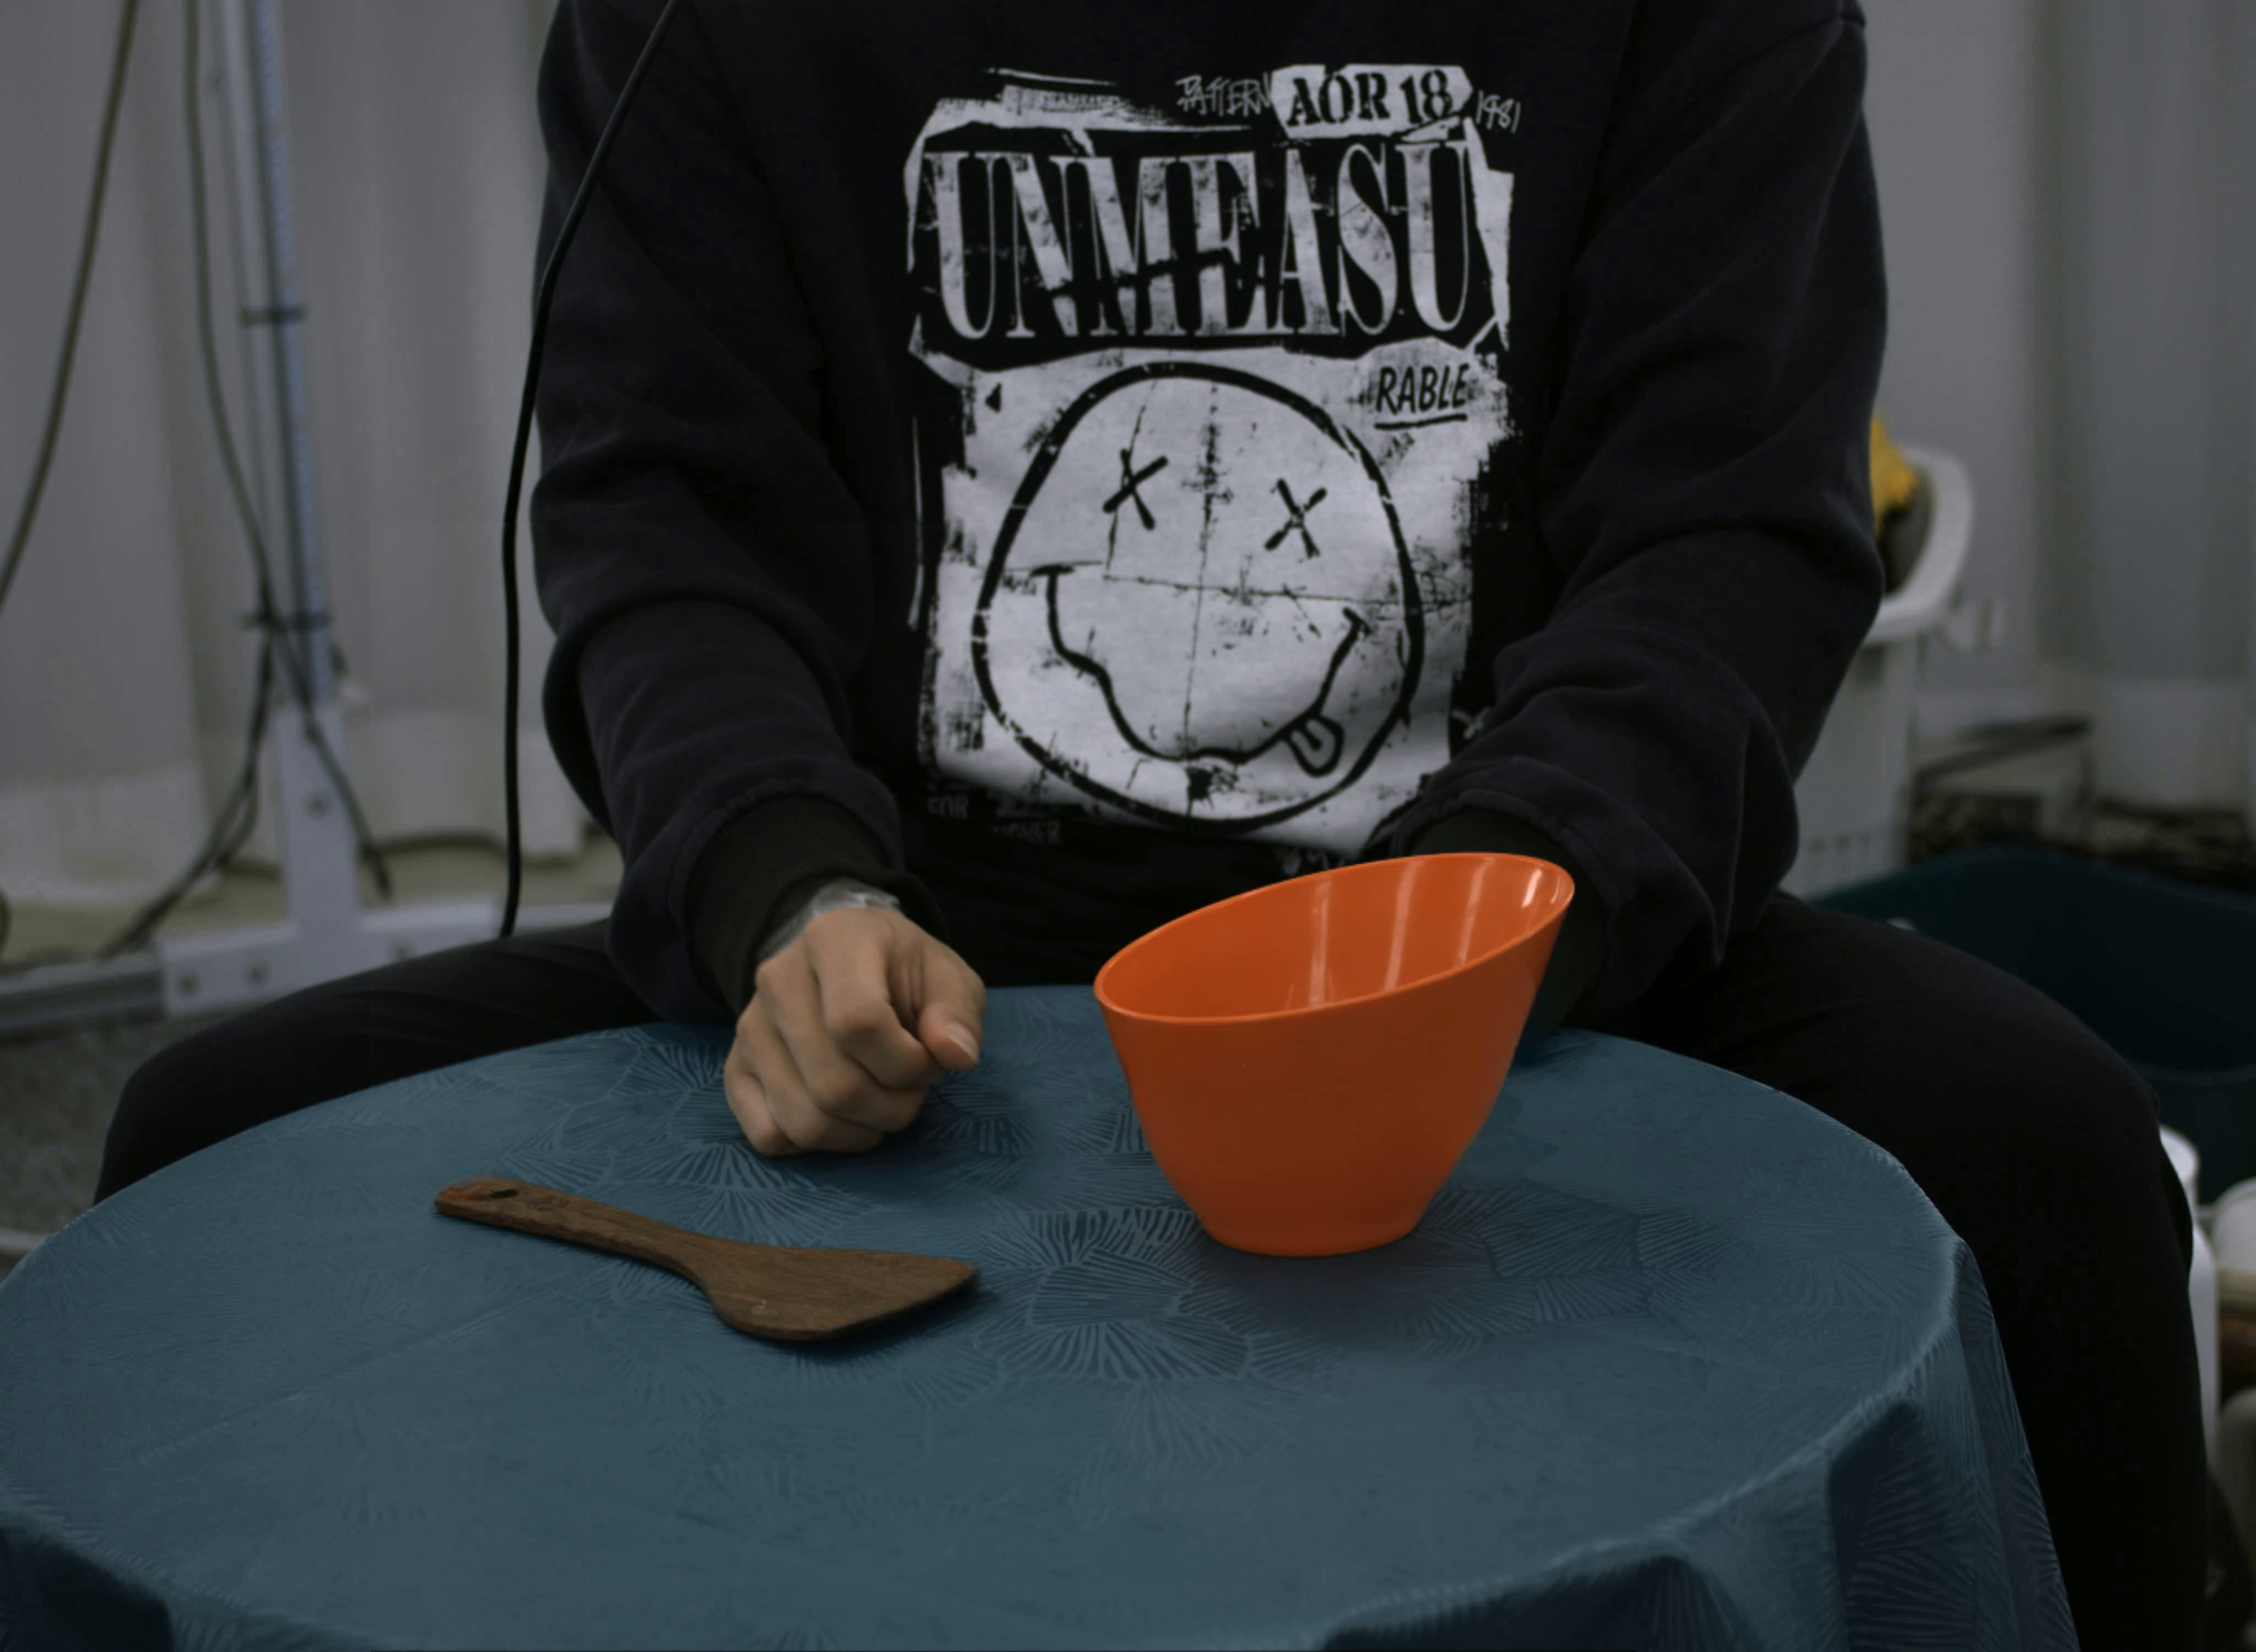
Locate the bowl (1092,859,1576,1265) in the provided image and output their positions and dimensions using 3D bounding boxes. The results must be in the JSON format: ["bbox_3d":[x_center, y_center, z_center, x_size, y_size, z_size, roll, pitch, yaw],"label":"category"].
[{"bbox_3d":[0.064,0.074,1.663,0.147,0.104,0.149,-3,15,0],"label":"bowl"}]

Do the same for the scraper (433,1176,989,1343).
[{"bbox_3d":[-0.136,0.130,1.669,0.212,0.011,0.075,10,19,42],"label":"scraper"}]
